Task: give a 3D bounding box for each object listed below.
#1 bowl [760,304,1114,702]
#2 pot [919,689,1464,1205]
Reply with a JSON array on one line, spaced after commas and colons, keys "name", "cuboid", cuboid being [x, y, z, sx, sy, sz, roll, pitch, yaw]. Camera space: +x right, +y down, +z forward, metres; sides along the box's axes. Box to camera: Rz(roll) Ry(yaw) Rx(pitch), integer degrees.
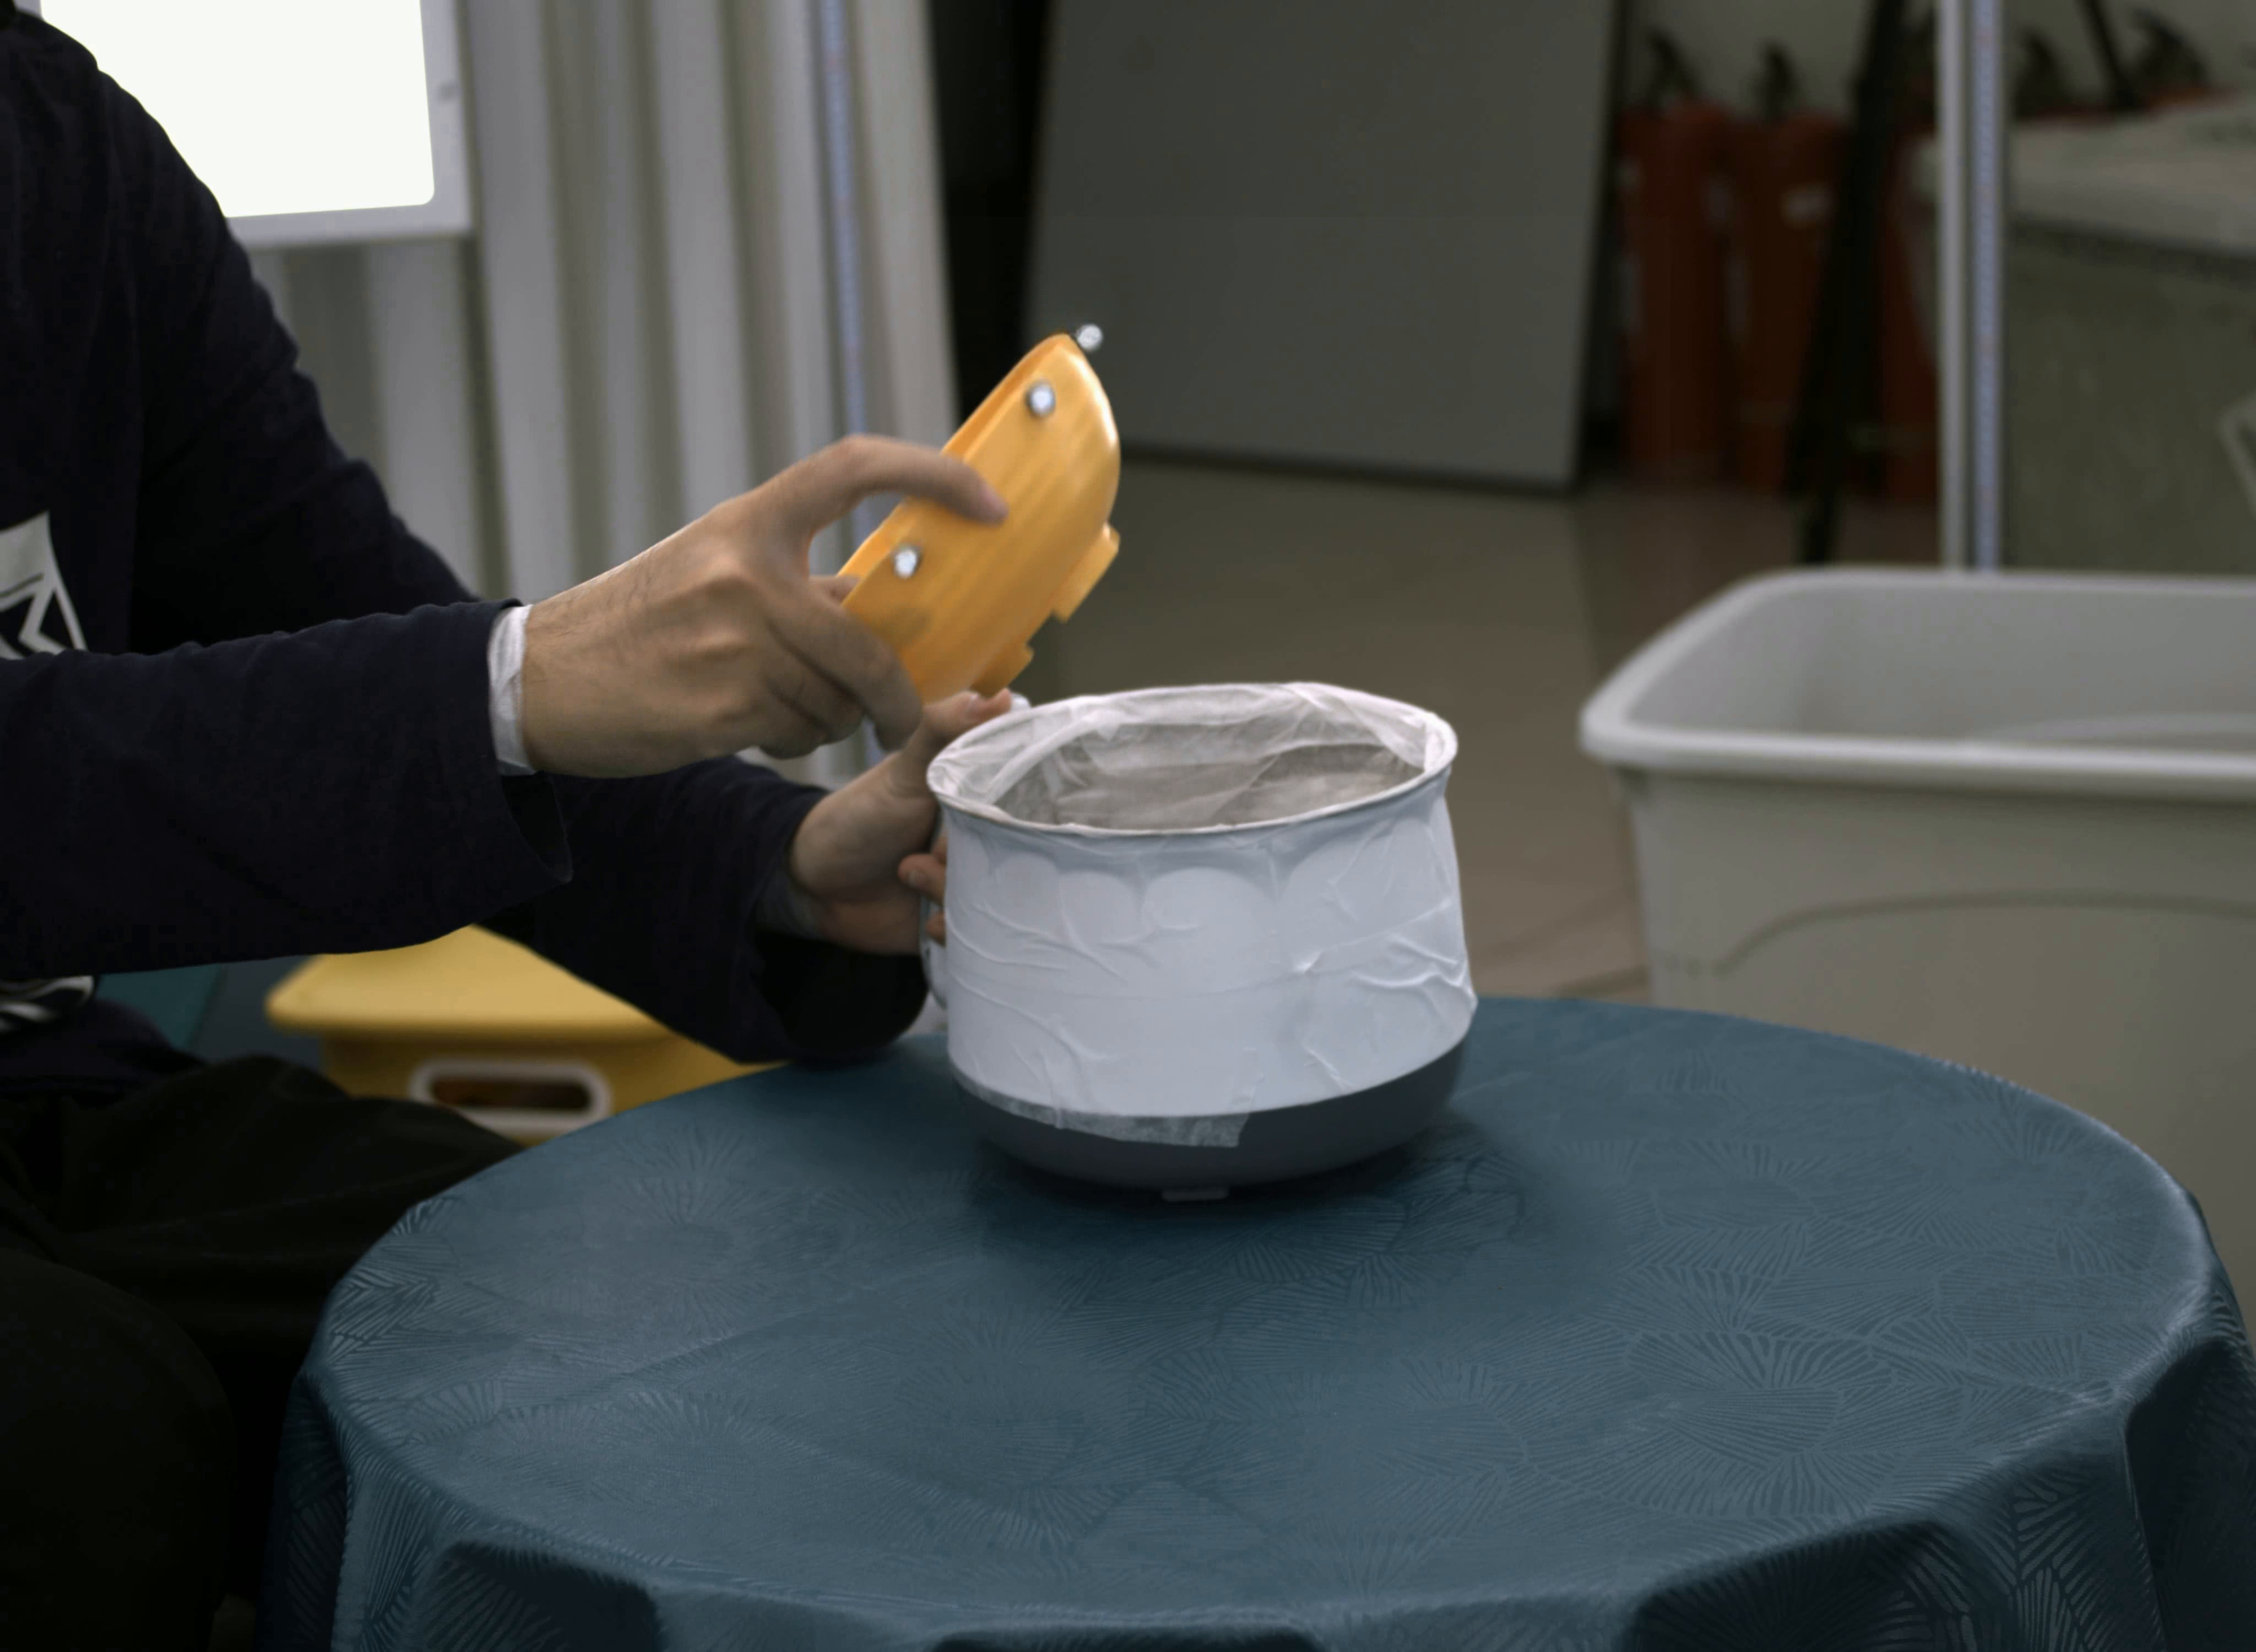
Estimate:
[{"name": "bowl", "cuboid": [-0.046, -0.087, 1.672, 0.060, 0.146, 0.145, 39, 15, -4]}, {"name": "pot", "cuboid": [0.007, 0.034, 1.815, 0.175, 0.138, 0.236, -13, 18, -37]}]
